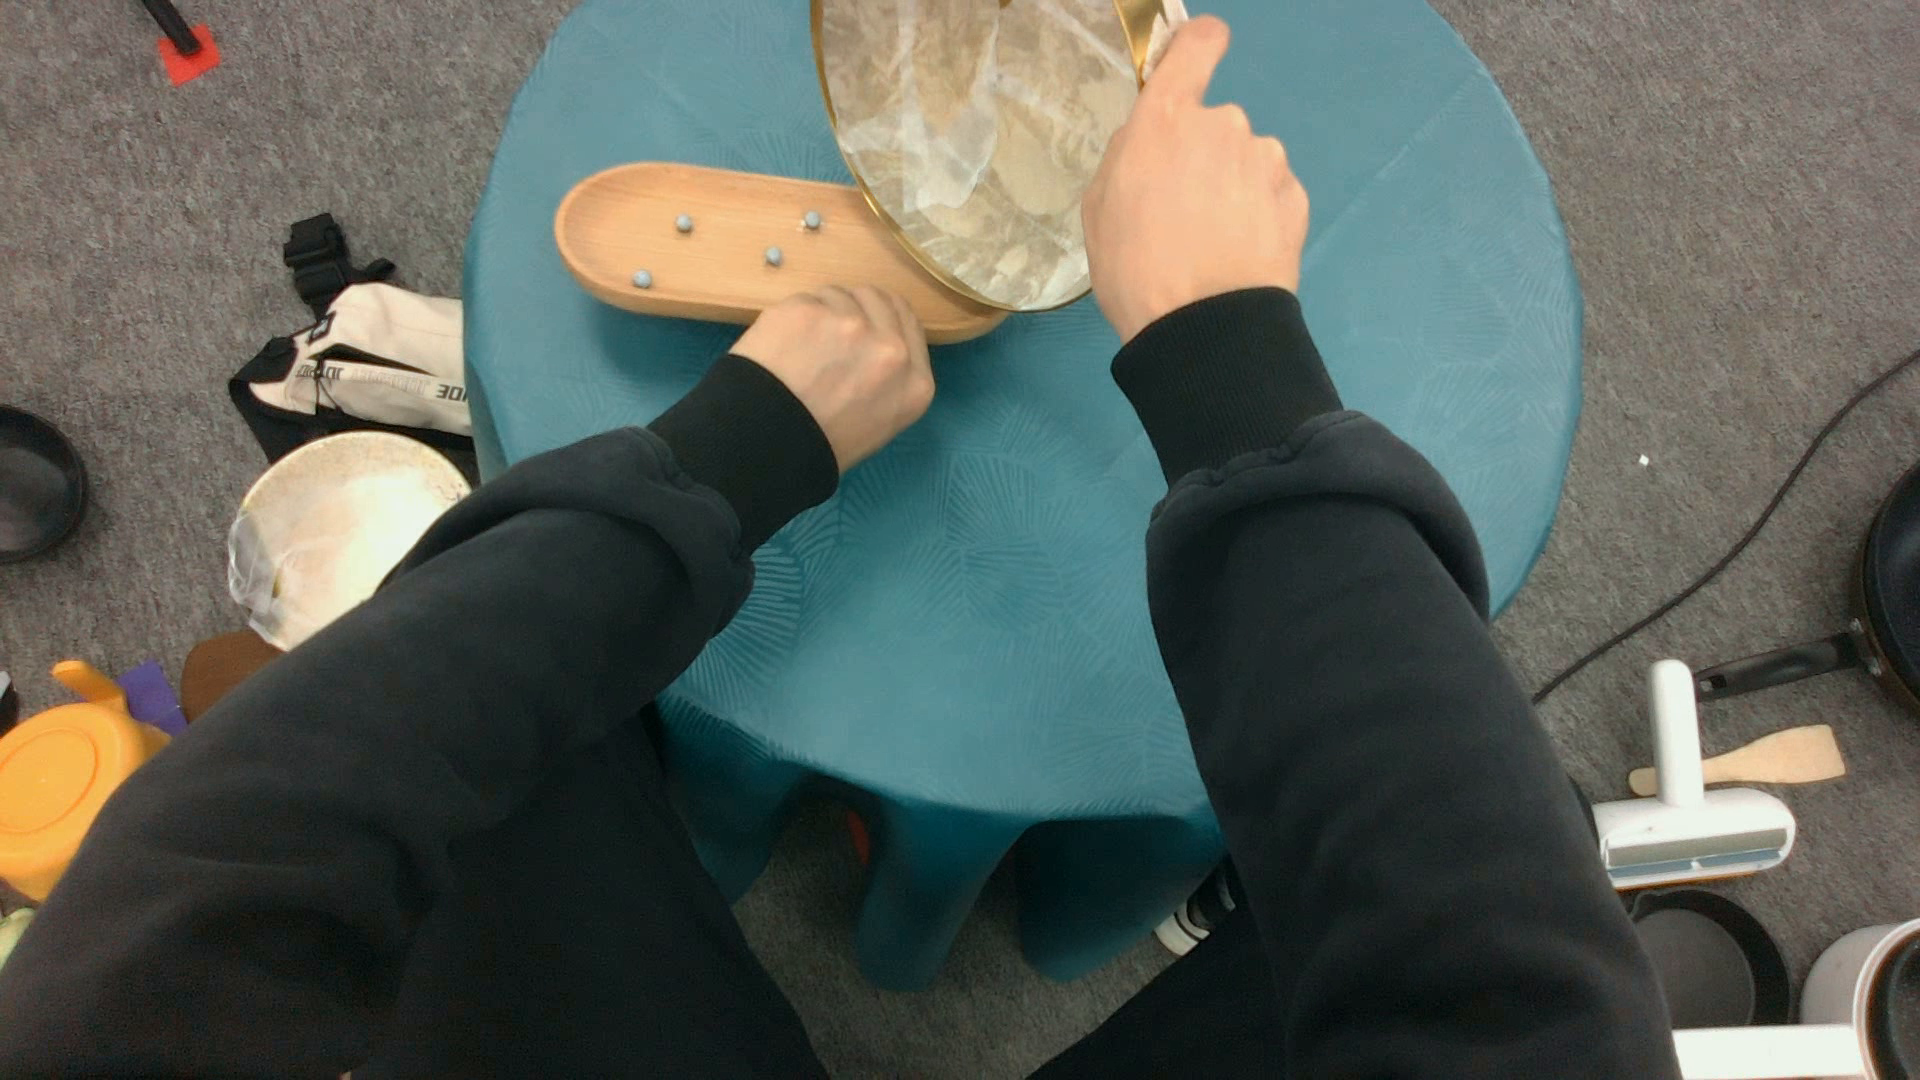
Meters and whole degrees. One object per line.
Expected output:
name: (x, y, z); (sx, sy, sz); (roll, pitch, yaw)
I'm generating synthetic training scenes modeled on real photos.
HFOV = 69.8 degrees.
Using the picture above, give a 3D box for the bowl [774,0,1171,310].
bowl: (0.019, -0.218, 0.631); (0.215, 0.213, 0.095); (46, 55, 10)

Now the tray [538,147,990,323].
tray: (-0.091, -0.152, 0.690); (0.231, 0.020, 0.102); (4, 54, -10)
